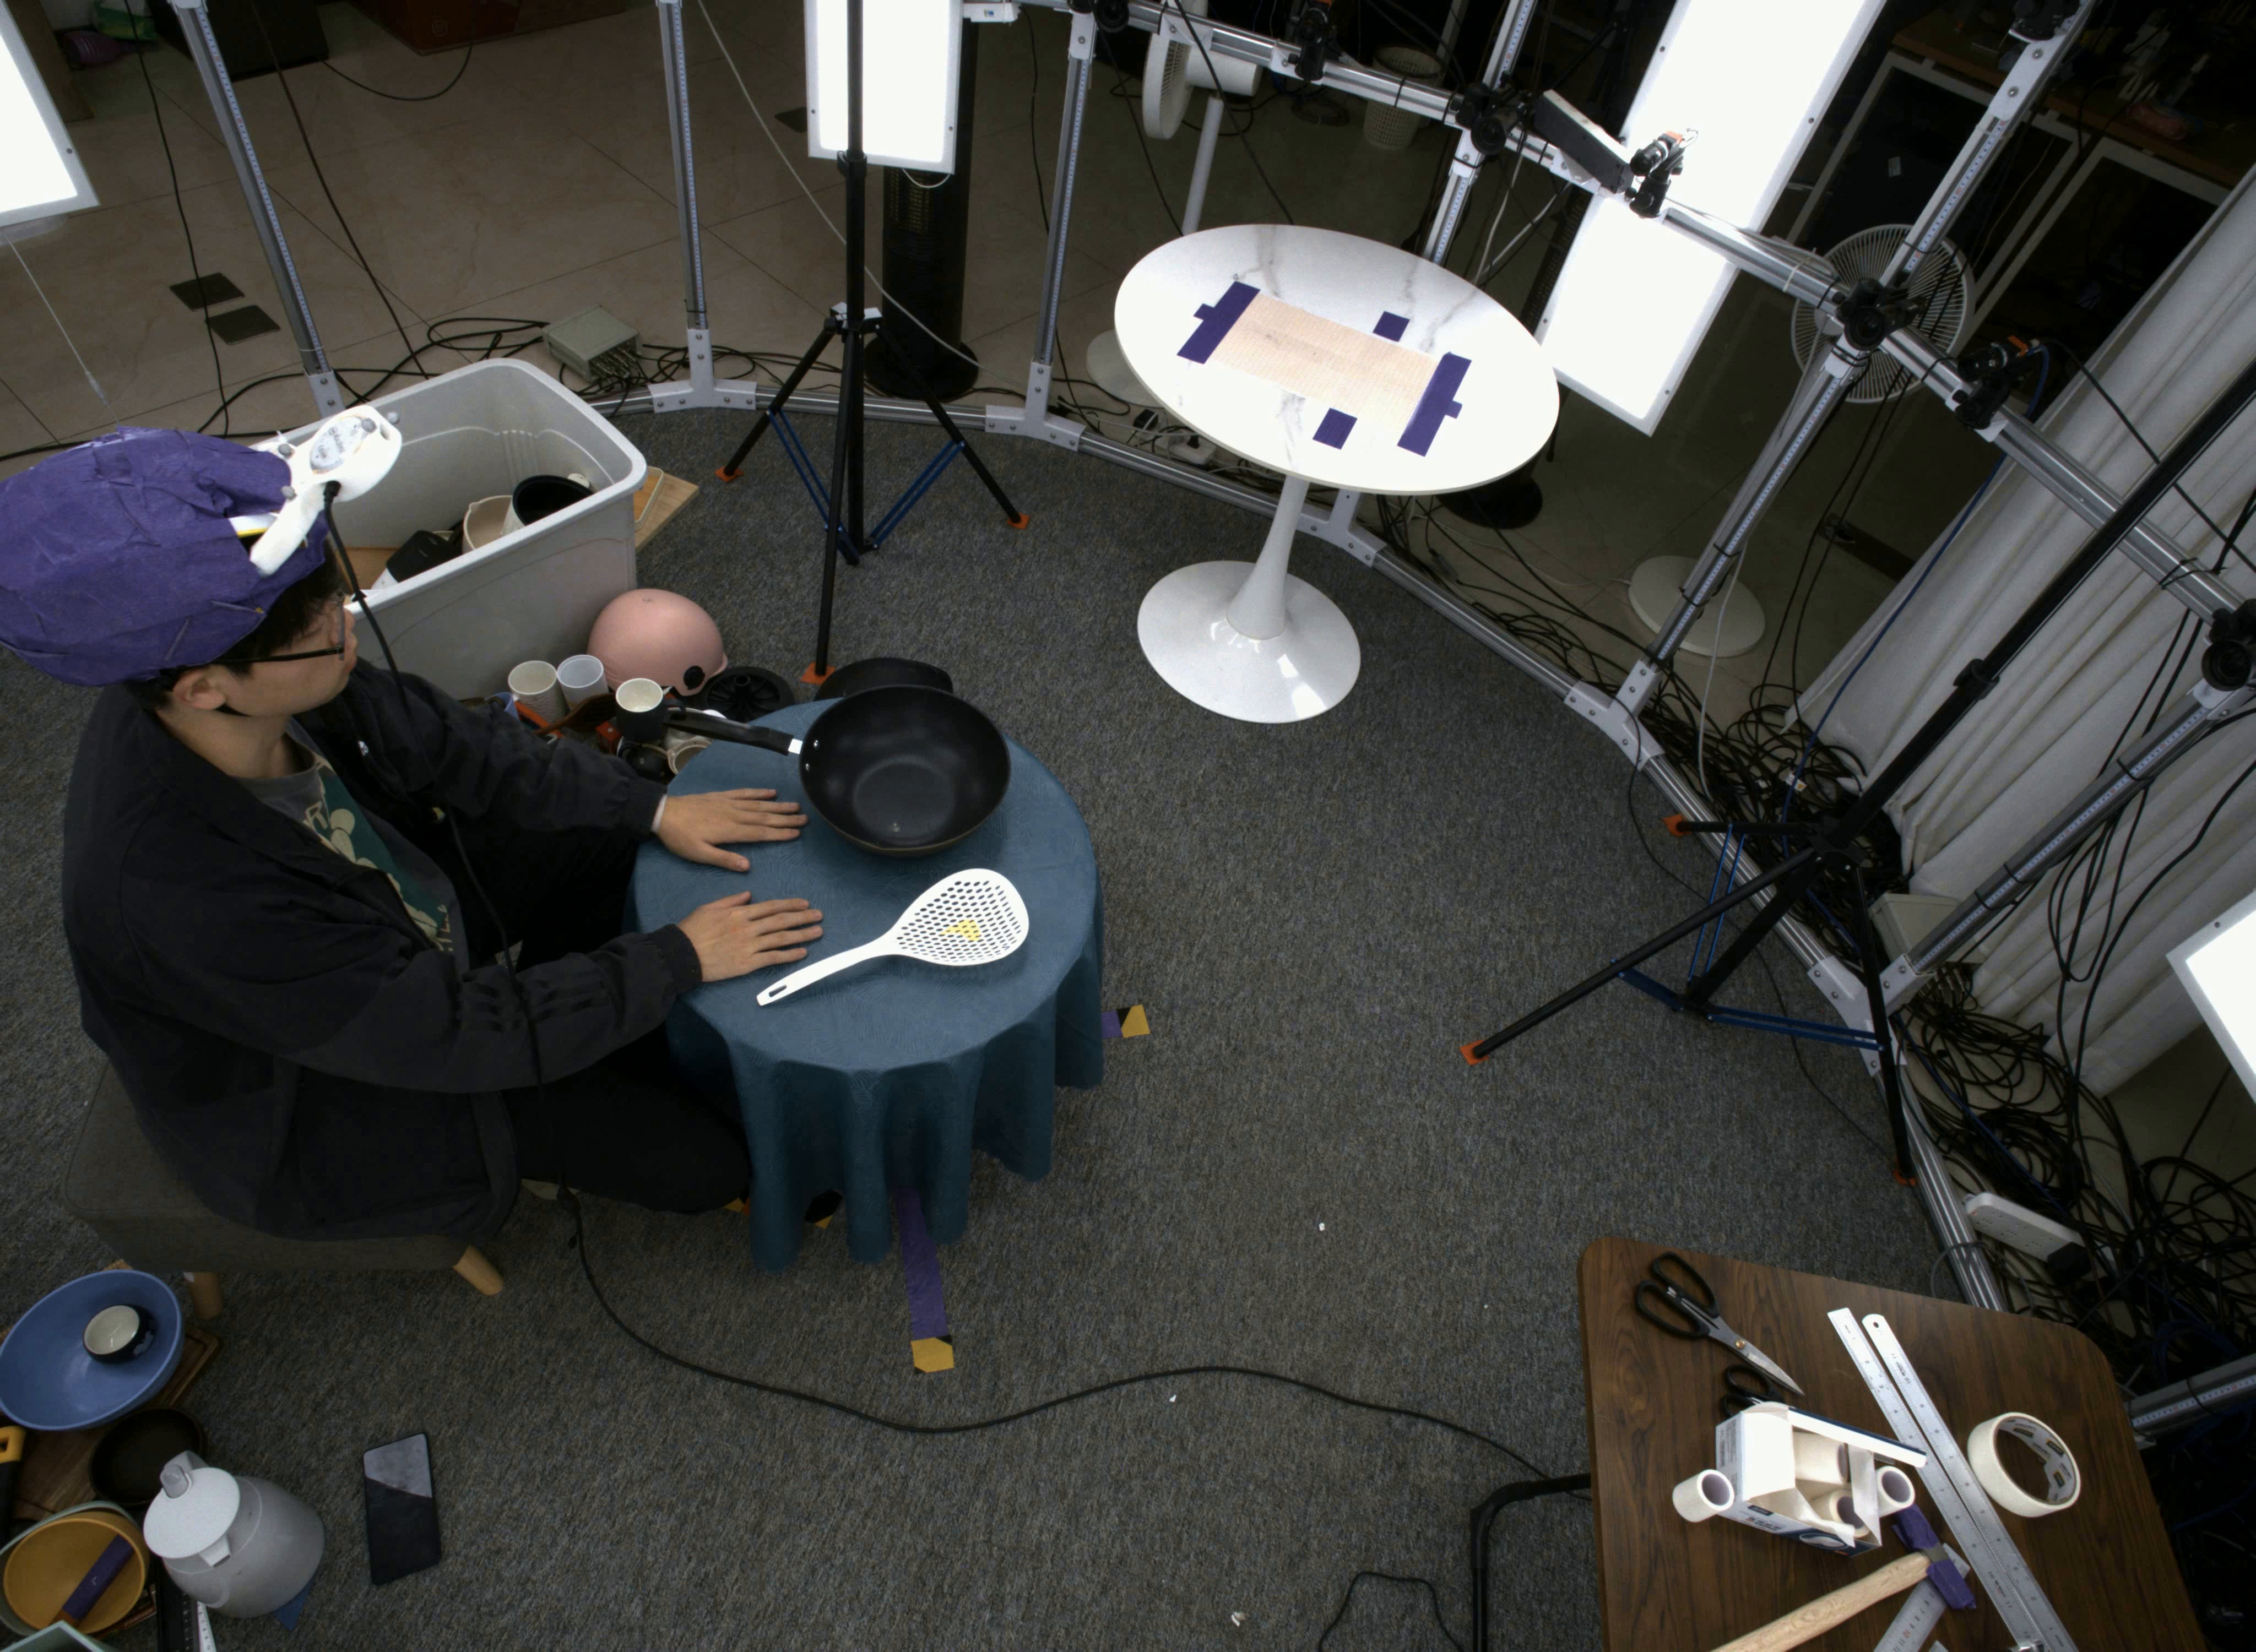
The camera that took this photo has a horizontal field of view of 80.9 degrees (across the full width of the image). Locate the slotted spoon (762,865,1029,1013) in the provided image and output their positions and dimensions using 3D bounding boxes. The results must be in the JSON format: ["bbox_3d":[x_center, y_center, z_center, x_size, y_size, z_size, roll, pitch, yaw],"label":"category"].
[{"bbox_3d":[-0.291,0.150,1.620,0.349,0.051,0.134,-18,63,-25],"label":"slotted spoon"}]

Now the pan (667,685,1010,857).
[{"bbox_3d":[-0.388,-0.078,1.739,0.460,0.089,0.283,11,52,-4],"label":"pan"}]
